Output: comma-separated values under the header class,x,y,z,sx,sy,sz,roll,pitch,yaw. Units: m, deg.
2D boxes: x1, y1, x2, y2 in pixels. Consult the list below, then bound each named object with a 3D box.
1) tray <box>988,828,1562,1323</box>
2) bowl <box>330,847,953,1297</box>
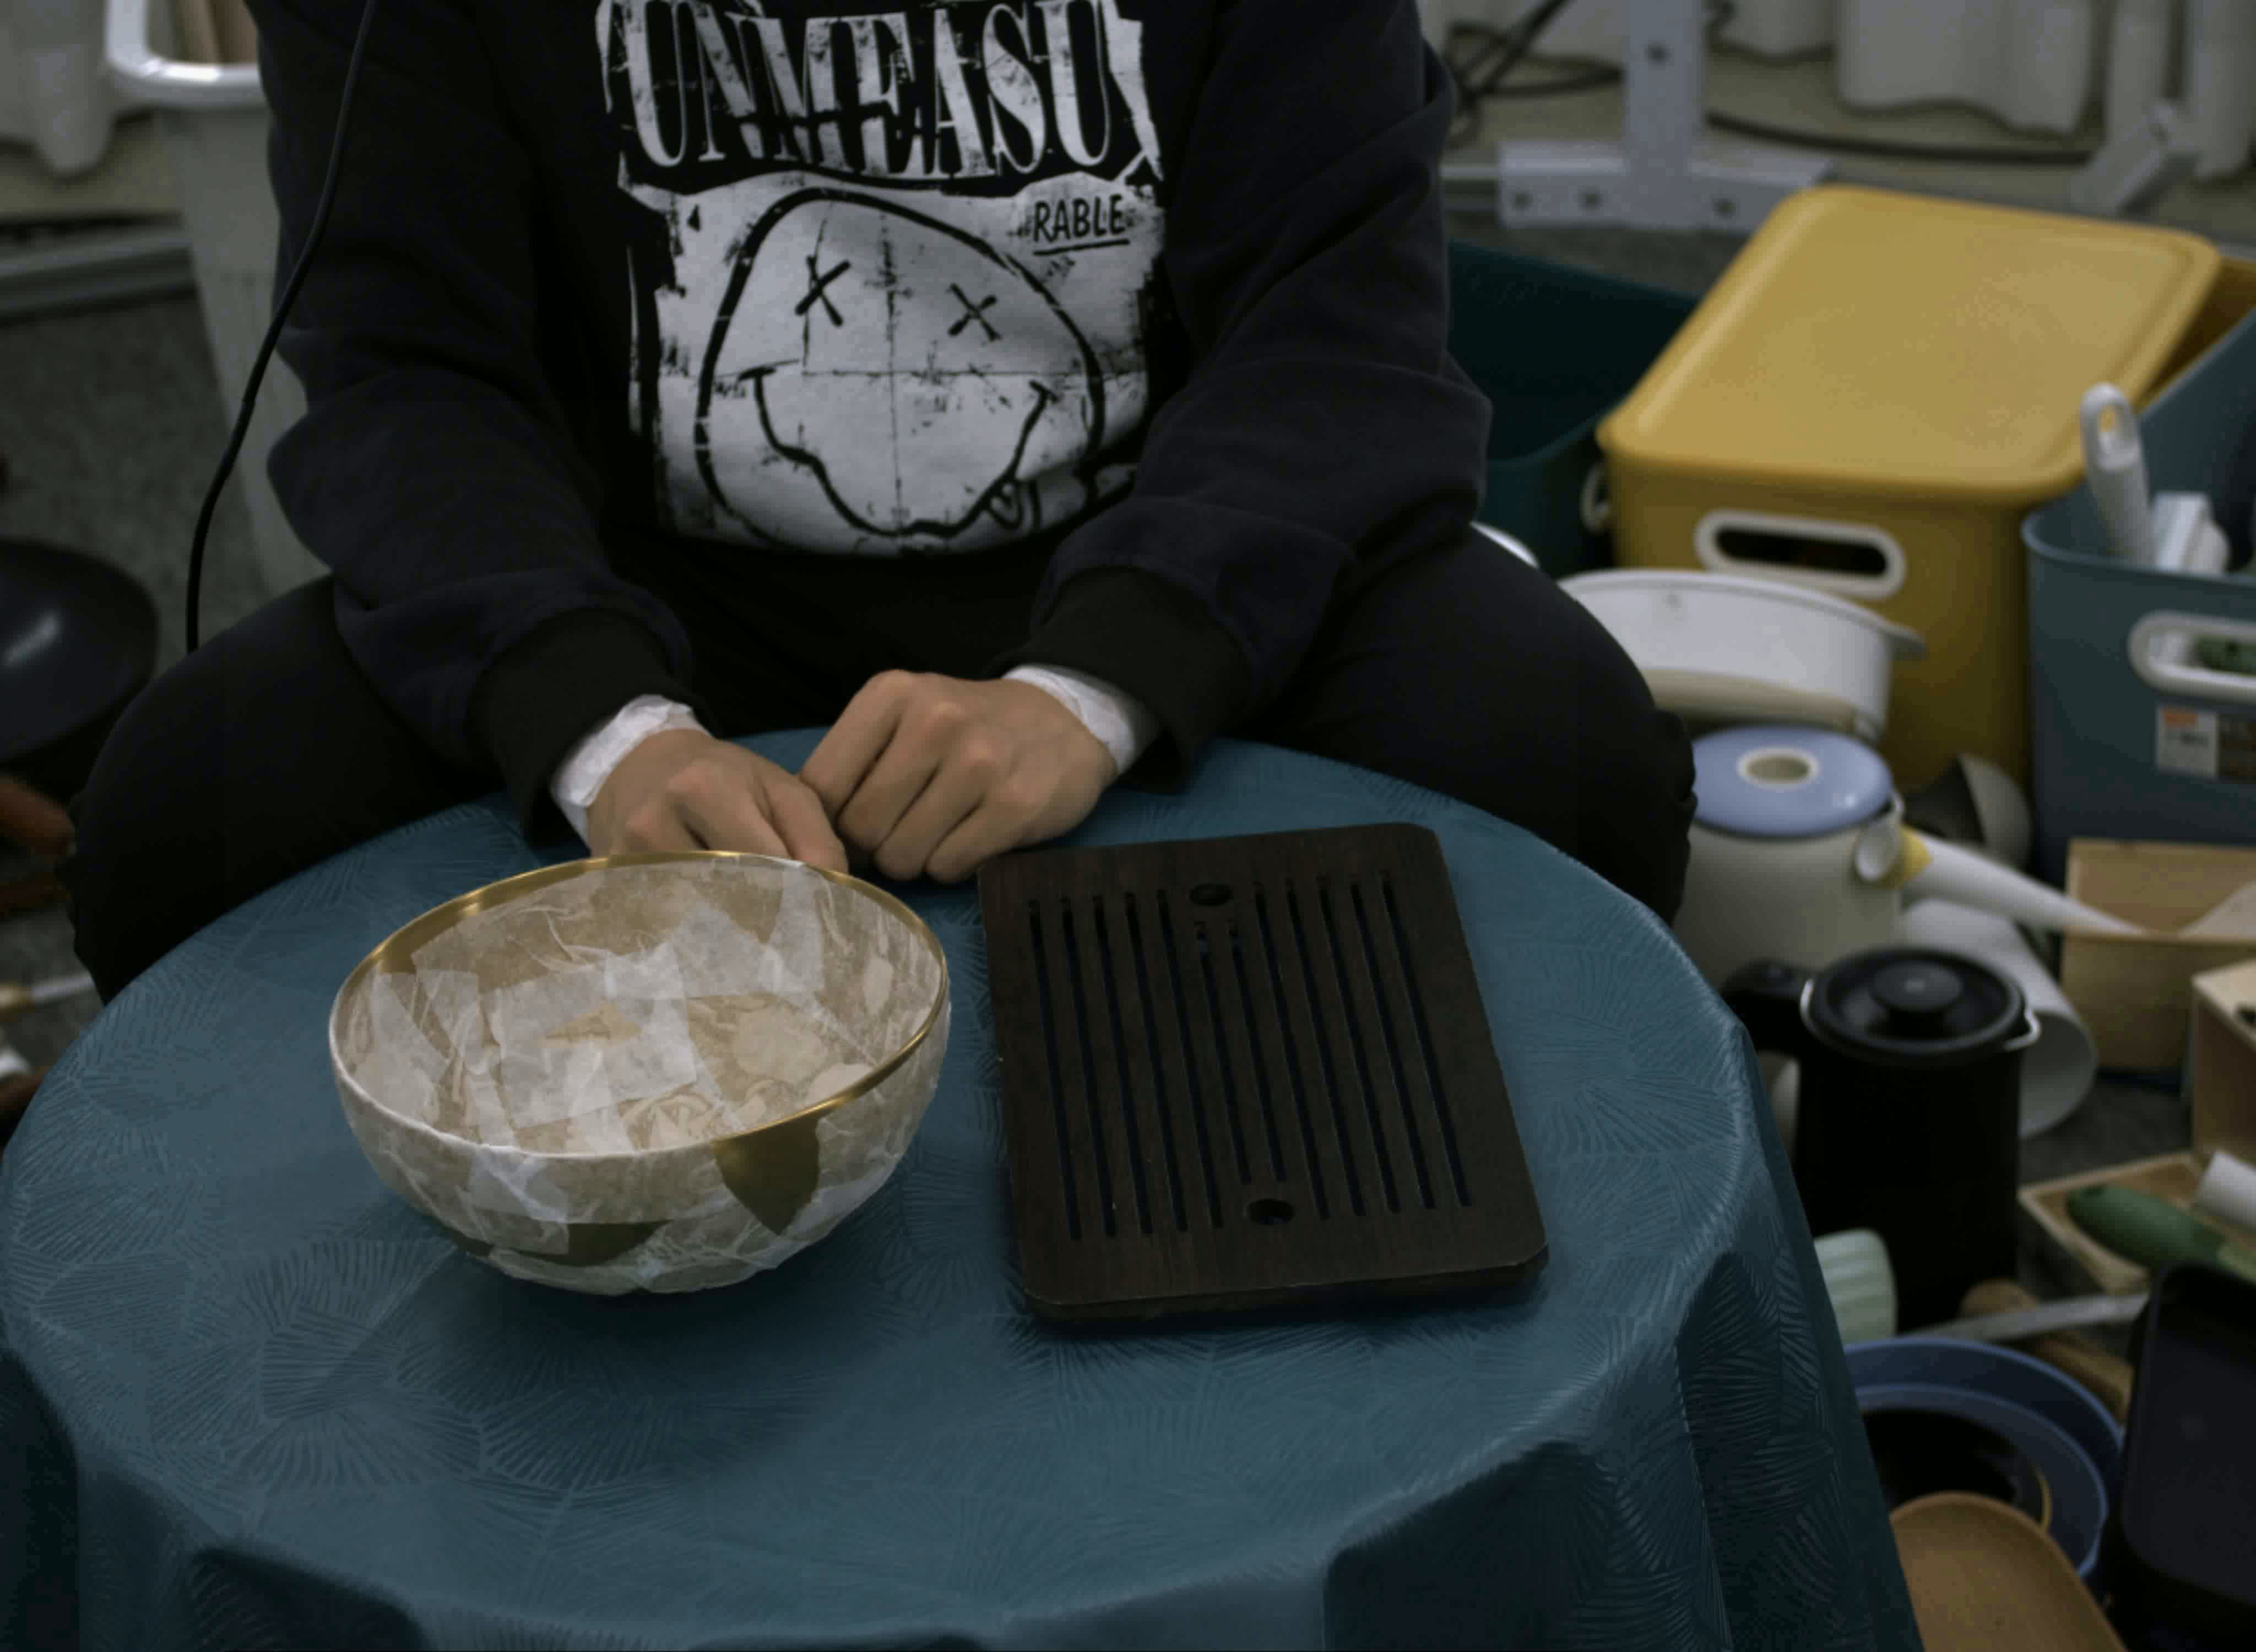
class,x,y,z,sx,sy,sz,roll,pitch,yaw
tray,0.044,0.082,1.914,0.169,0.018,0.310,-4,27,-3
bowl,-0.151,0.092,1.833,0.213,0.093,0.218,-3,27,2
